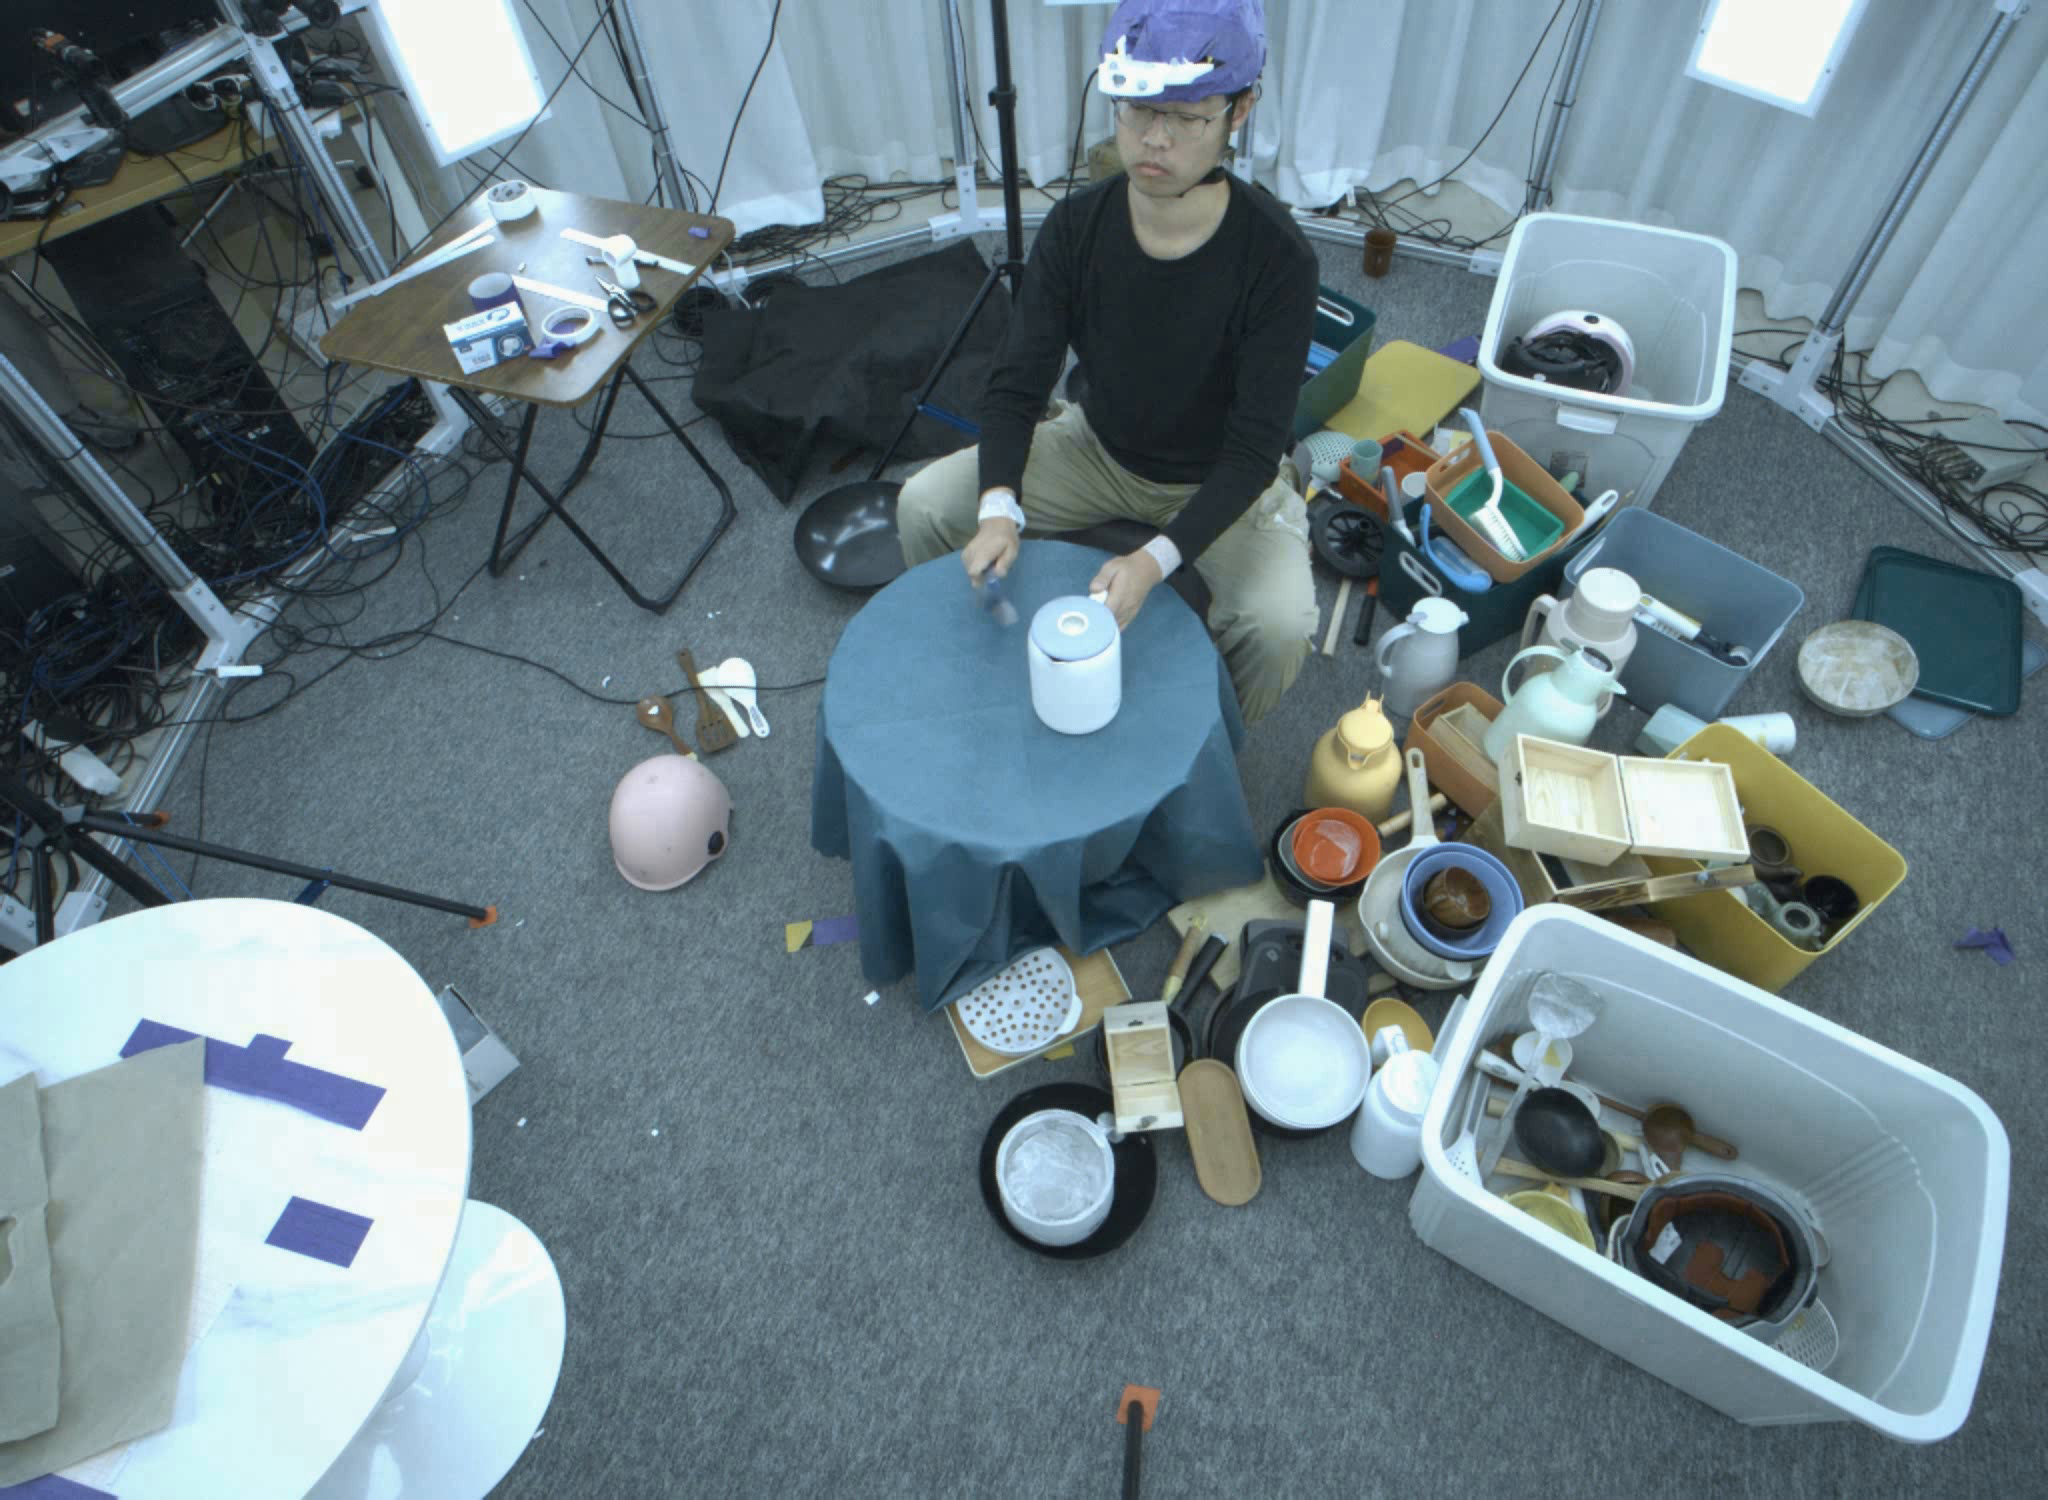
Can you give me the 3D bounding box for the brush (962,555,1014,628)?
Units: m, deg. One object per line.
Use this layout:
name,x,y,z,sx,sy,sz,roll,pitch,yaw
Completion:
brush,-0.054,-0.243,1.769,0.033,0.097,0.269,-42,26,16

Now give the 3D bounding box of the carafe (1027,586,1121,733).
carafe,0.083,-0.141,1.779,0.131,0.184,0.191,17,56,15
